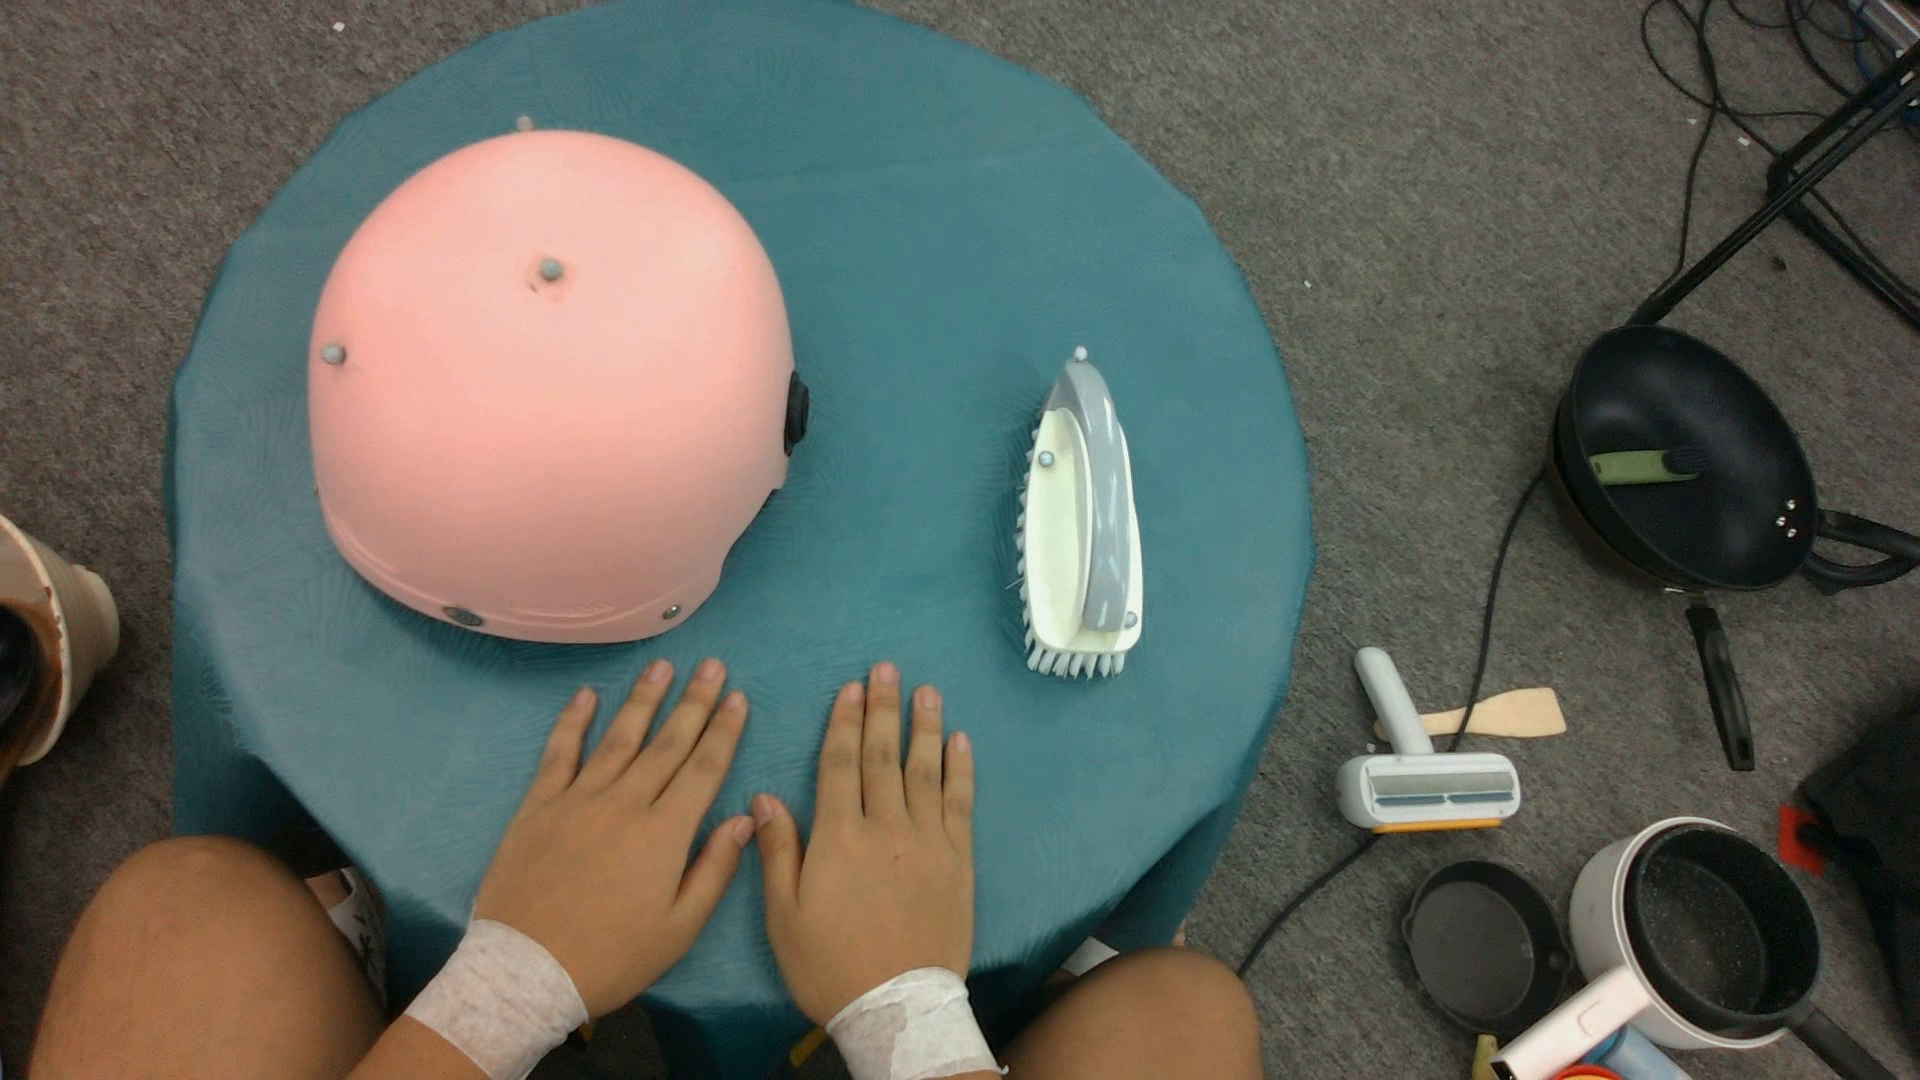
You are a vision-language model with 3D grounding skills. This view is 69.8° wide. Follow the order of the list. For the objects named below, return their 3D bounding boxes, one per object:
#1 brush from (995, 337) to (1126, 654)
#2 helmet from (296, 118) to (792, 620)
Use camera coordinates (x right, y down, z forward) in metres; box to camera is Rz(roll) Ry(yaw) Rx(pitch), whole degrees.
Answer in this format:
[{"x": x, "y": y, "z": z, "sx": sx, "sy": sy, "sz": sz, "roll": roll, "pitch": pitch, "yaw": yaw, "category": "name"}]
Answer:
[{"x": 0.055, "y": -0.037, "z": 0.711, "sx": 0.061, "sy": 0.094, "sz": 0.176, "roll": 3, "pitch": 64, "yaw": -13, "category": "brush"}, {"x": -0.192, "y": -0.104, "z": 0.647, "sx": 0.234, "sy": 0.158, "sz": 0.267, "roll": 18, "pitch": 60, "yaw": -5, "category": "helmet"}]
